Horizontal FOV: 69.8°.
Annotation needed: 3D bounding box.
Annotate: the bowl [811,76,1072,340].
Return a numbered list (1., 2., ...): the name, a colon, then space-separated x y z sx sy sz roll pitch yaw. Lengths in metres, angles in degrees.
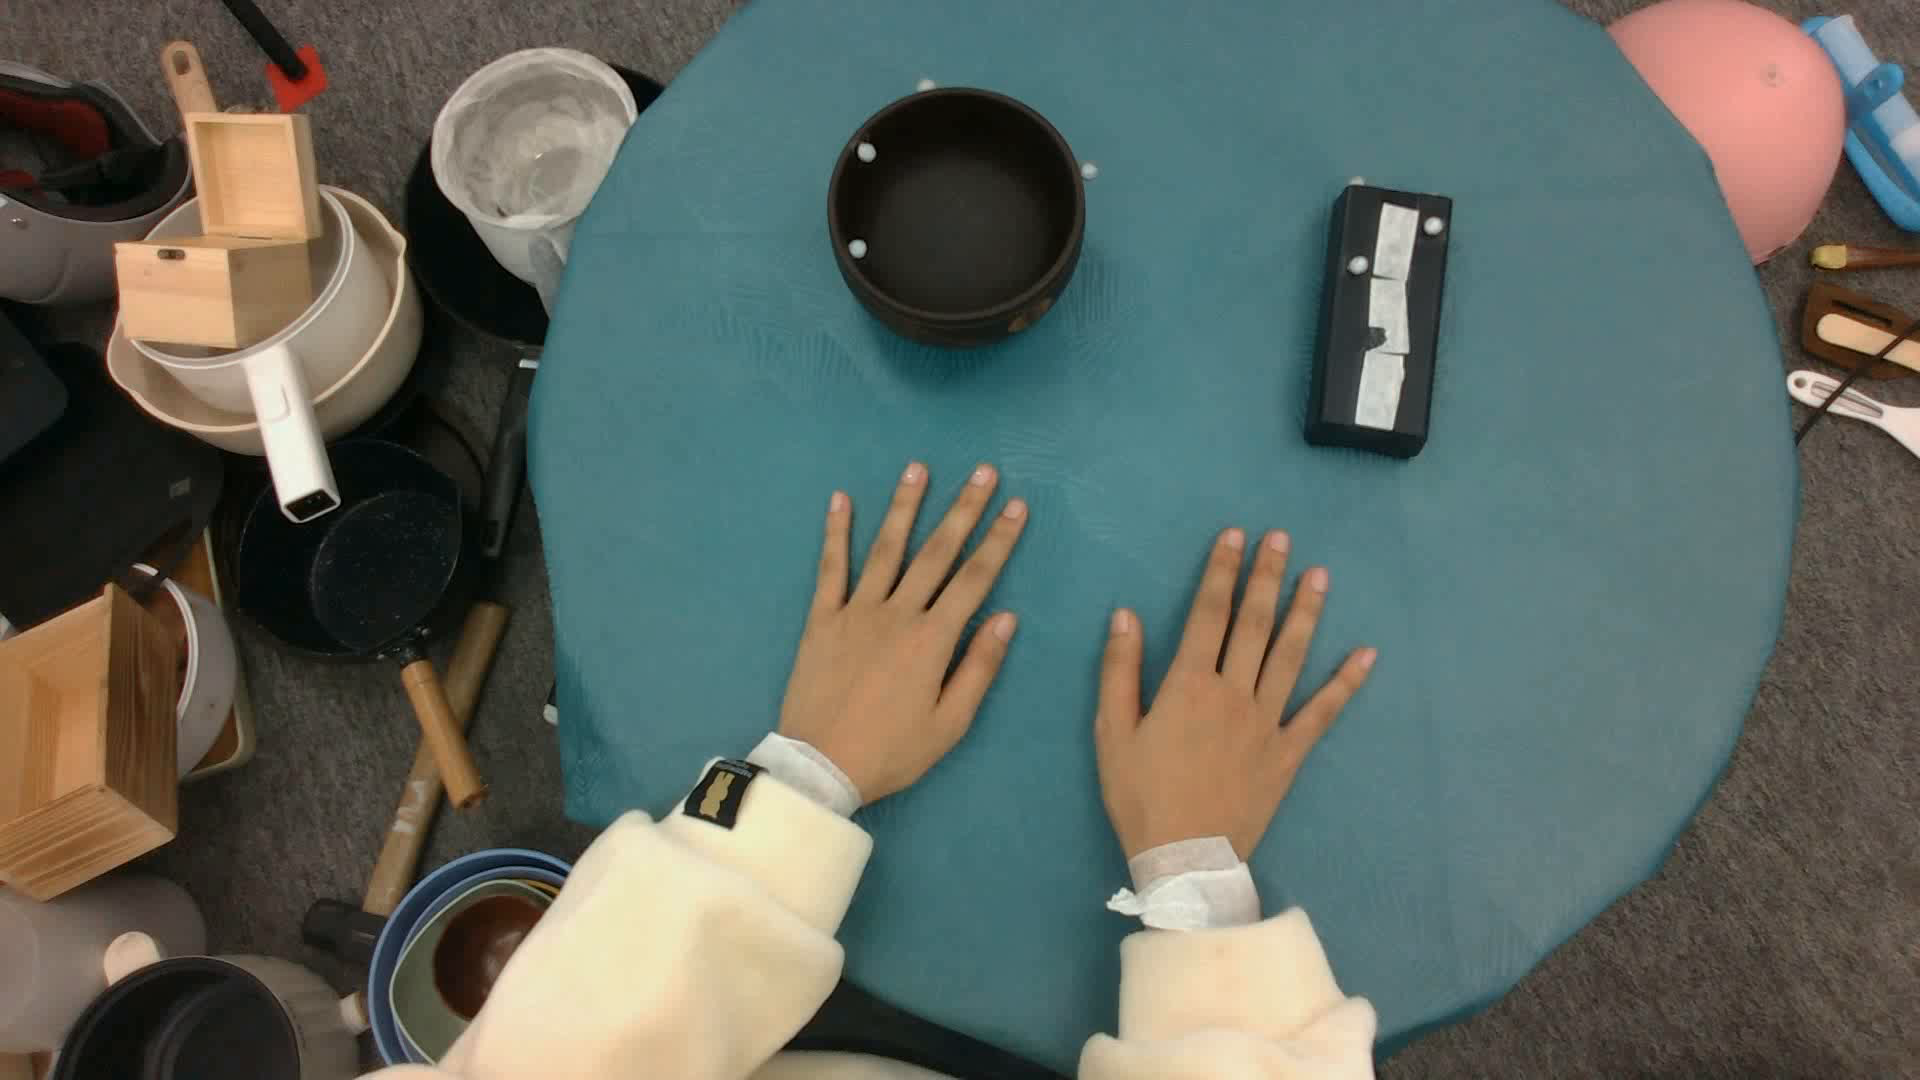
1. bowl: -0.008 -0.148 0.643 0.118 0.070 0.118 0 77 0

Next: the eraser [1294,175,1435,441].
1. eraser: 0.192 -0.111 0.656 0.053 0.030 0.126 8 78 4
